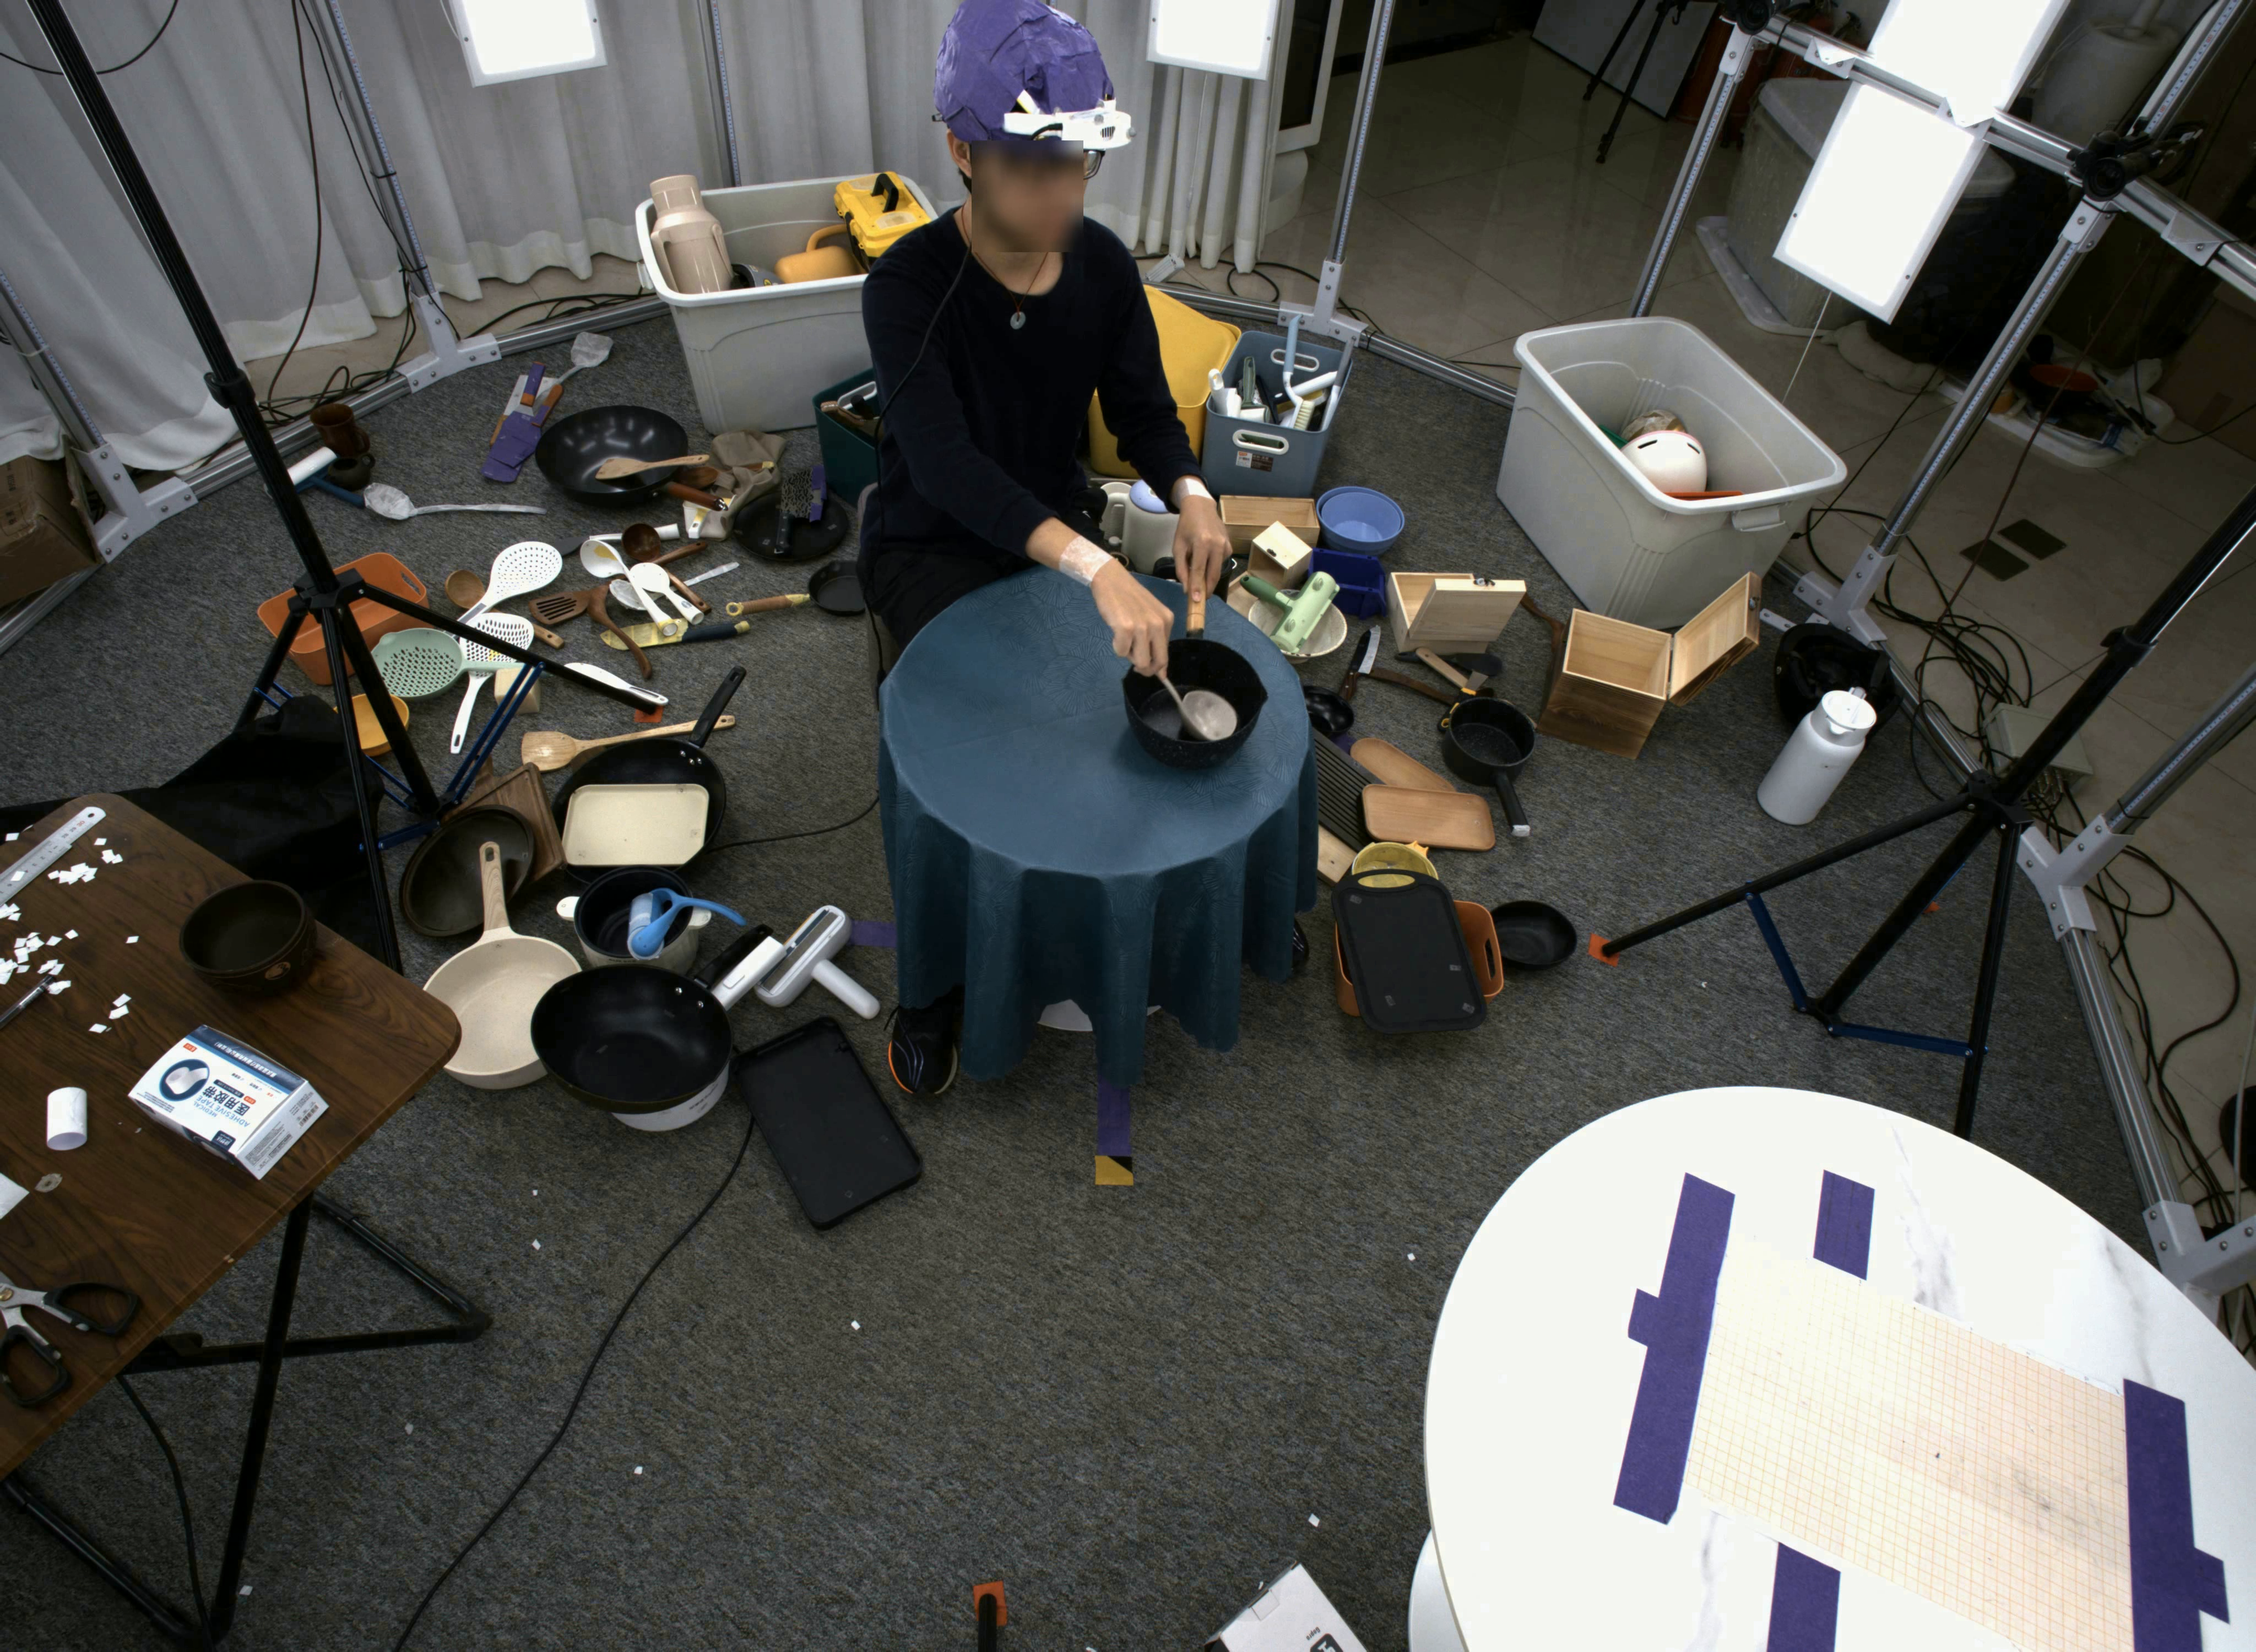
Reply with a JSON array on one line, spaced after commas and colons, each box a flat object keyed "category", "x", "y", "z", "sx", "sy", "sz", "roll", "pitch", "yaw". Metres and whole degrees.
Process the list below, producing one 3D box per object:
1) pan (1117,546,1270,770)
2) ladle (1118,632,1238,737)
[{"category": "pan", "x": 0.089, "y": -0.234, "z": 1.790, "sx": 0.207, "sy": 0.106, "sz": 0.351, "roll": 2, "pitch": 56, "yaw": 0}, {"category": "ladle", "x": 0.069, "y": -0.195, "z": 1.672, "sx": 0.069, "sy": 0.269, "sz": 0.091, "roll": -25, "pitch": 59, "yaw": 13}]
